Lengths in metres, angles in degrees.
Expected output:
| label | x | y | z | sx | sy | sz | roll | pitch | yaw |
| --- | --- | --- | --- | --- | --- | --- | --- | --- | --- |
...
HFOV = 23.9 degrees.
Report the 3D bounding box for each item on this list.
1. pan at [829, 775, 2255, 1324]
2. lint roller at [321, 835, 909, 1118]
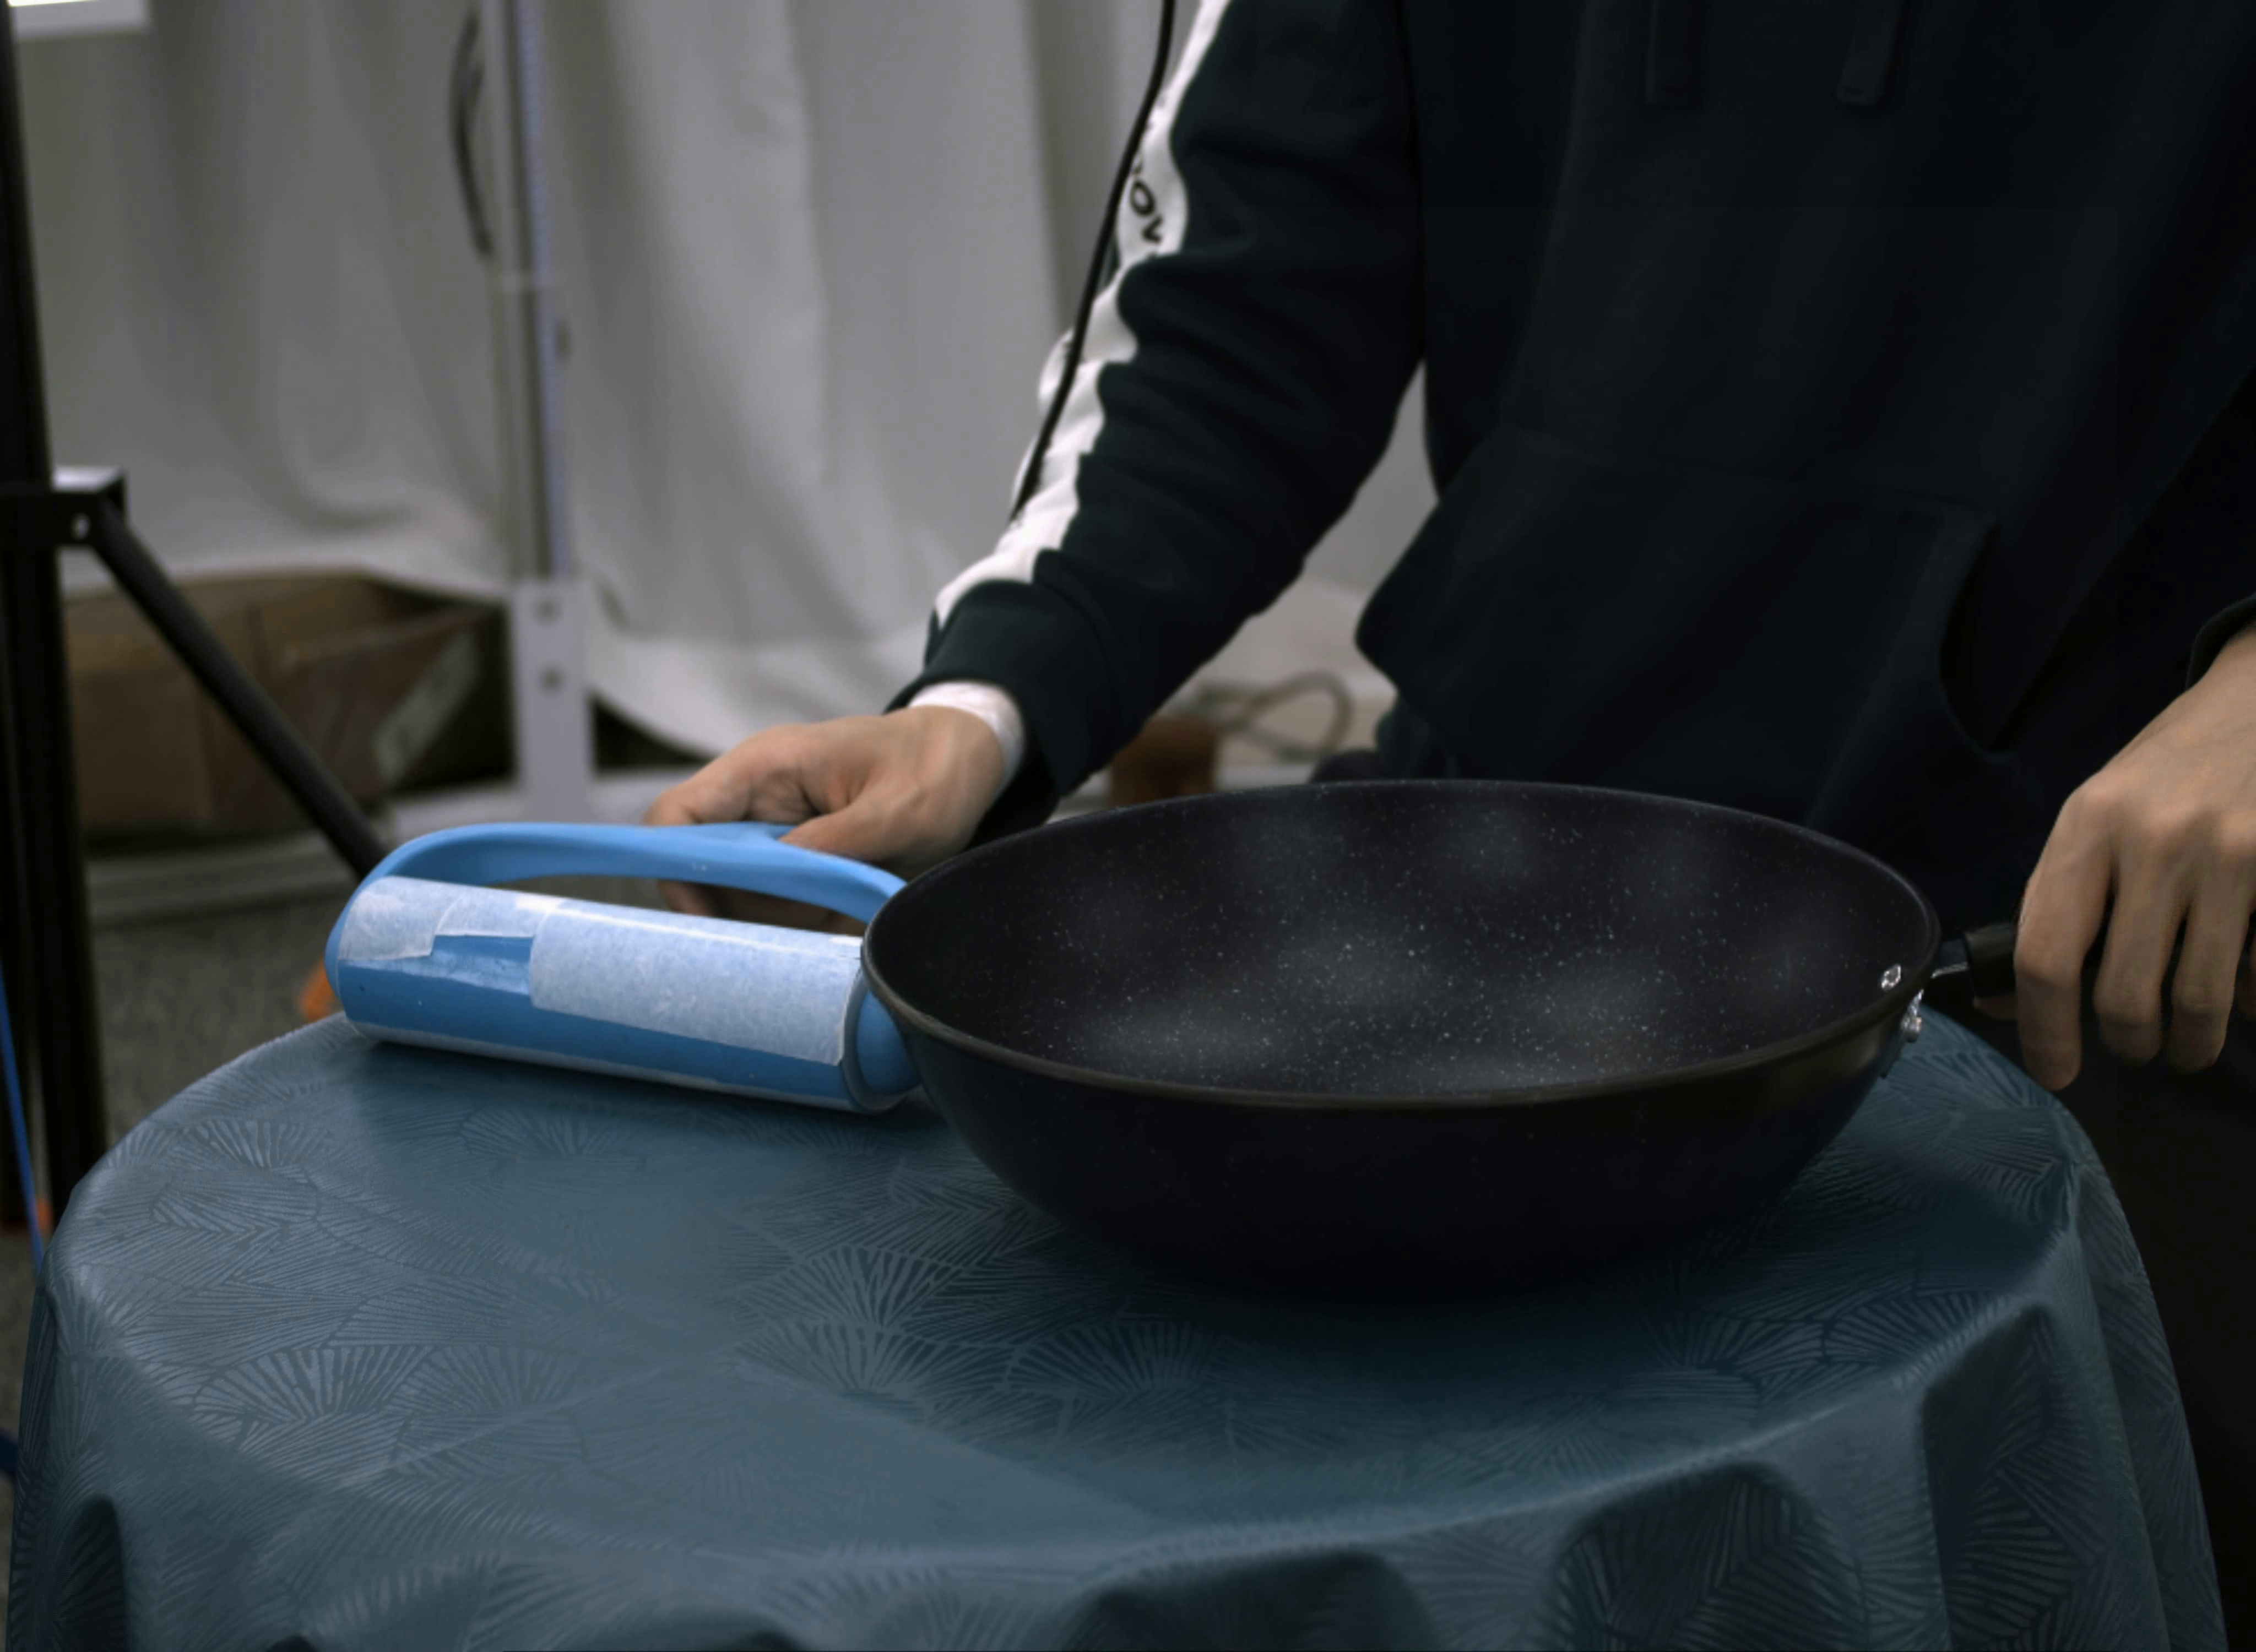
| label | x | y | z | sx | sy | sz | roll | pitch | yaw |
| --- | --- | --- | --- | --- | --- | --- | --- | --- | --- |
| pan | 0.153 | 0.059 | 1.511 | 0.477 | 0.111 | 0.310 | -1 | 18 | 6 |
| lint roller | -0.132 | 0.034 | 1.728 | 0.232 | 0.068 | 0.178 | 3 | 22 | 28 |
